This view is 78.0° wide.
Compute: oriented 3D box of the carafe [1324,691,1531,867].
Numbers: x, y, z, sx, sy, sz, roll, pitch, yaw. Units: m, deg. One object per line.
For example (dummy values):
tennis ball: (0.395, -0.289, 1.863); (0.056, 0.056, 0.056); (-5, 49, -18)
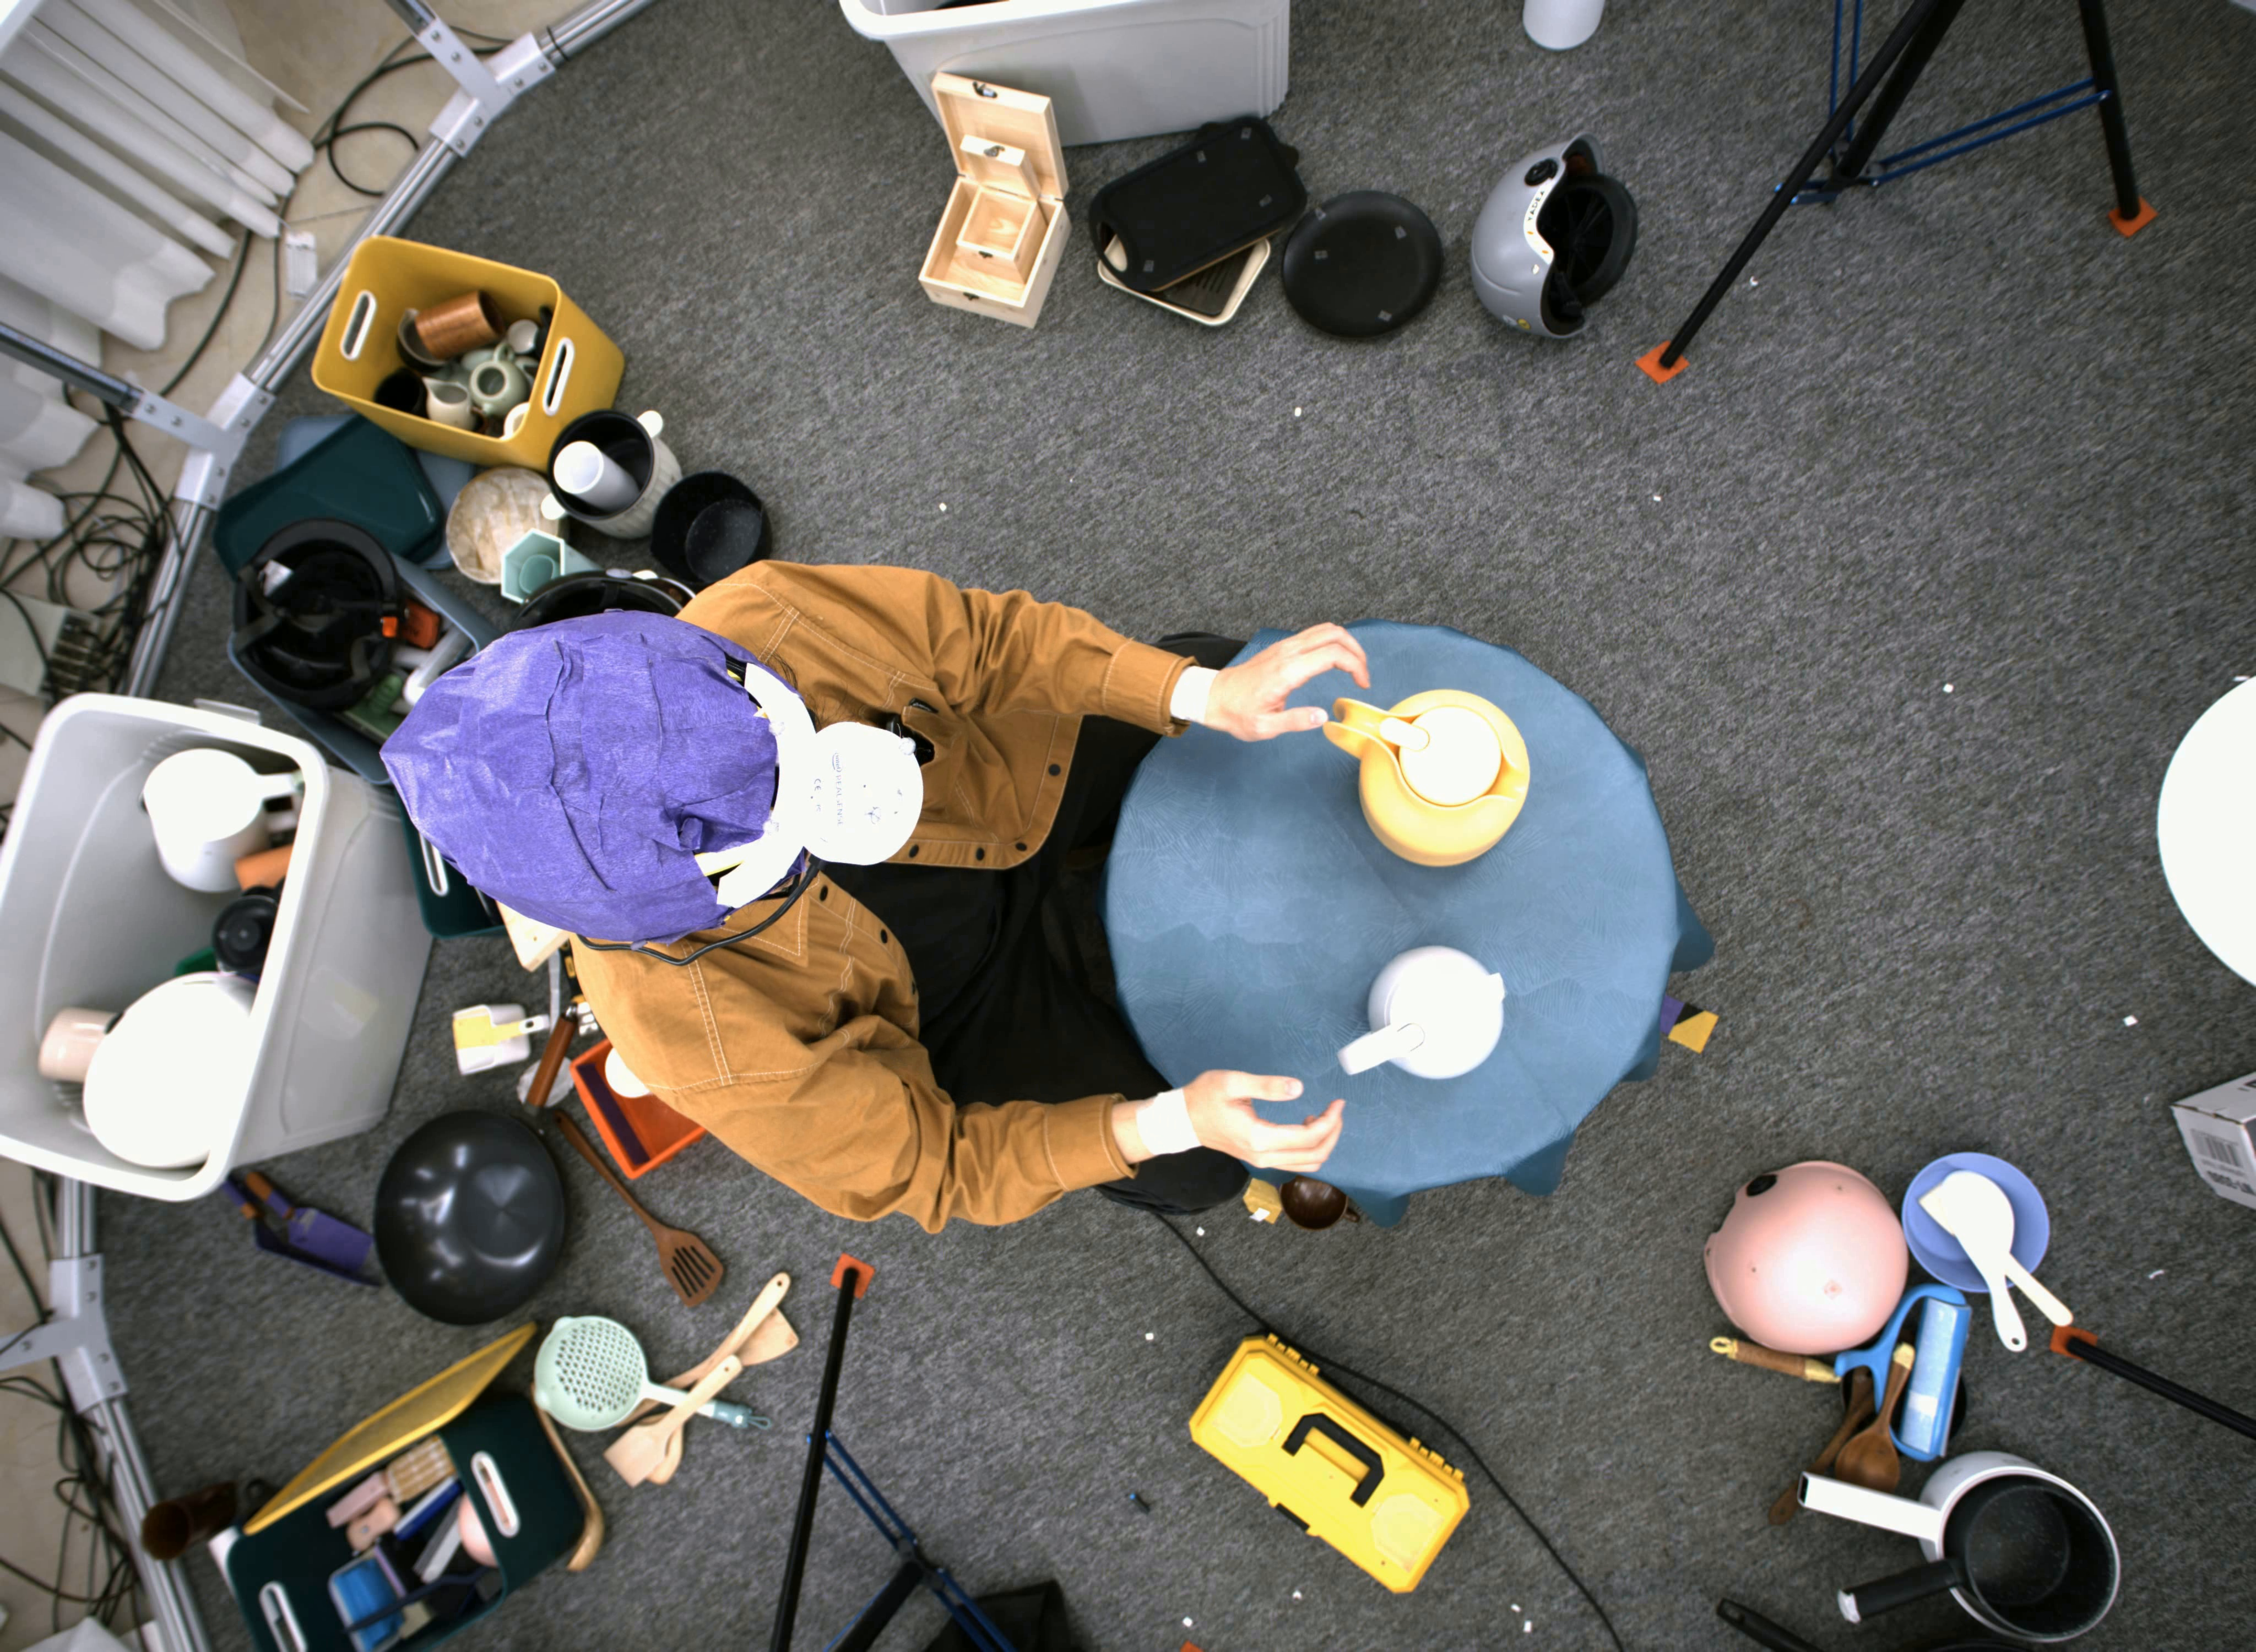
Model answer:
carafe: (0.287, -0.060, 1.332); (0.202, 0.261, 0.163); (27, 88, 10)

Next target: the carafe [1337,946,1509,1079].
carafe: (0.280, 0.188, 1.327); (0.169, 0.248, 0.131); (-29, 81, 8)
